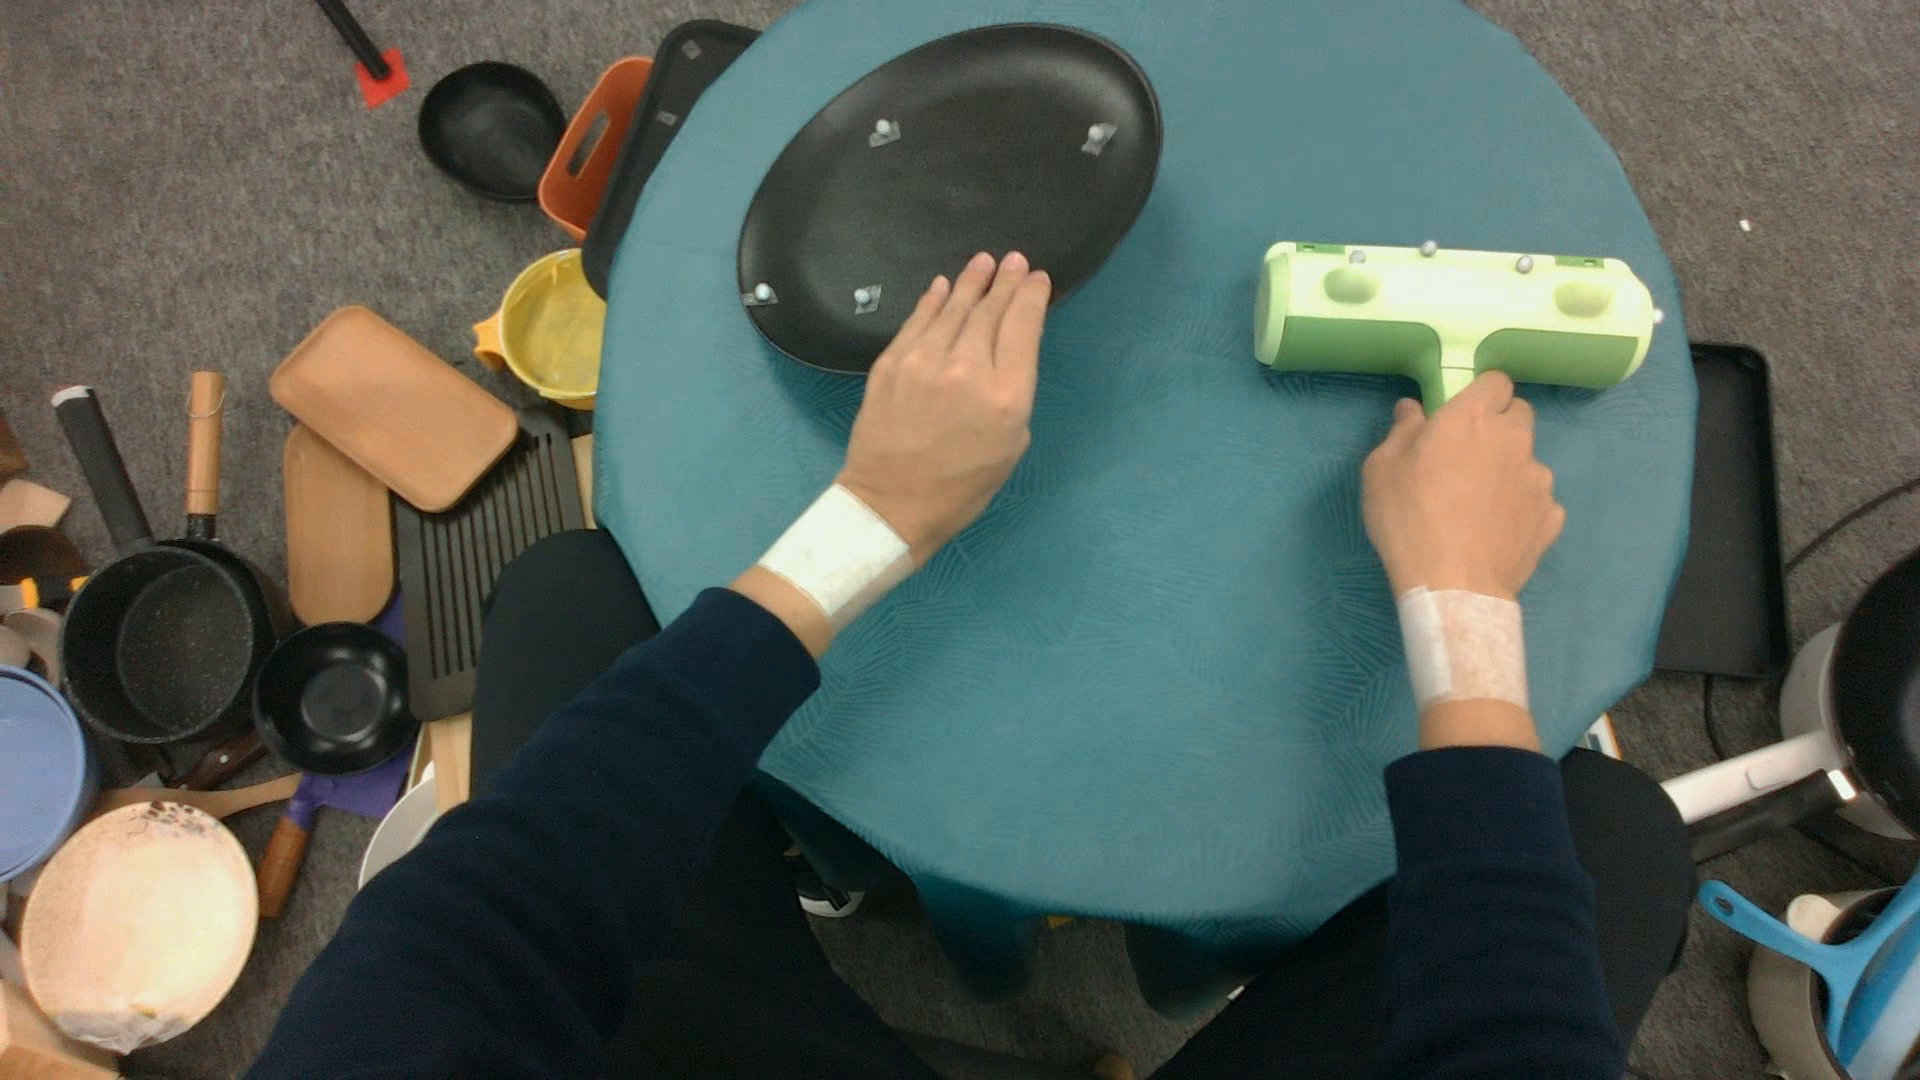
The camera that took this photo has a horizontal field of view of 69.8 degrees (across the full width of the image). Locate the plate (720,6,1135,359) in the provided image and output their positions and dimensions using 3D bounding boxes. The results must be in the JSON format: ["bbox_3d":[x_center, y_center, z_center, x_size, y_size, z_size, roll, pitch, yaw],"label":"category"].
[{"bbox_3d":[-0.020,-0.186,0.722,0.244,0.023,0.245,-17,50,21],"label":"plate"}]

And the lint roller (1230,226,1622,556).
[{"bbox_3d":[0.244,-0.087,0.689,0.198,0.082,0.184,1,56,-2],"label":"lint roller"}]
